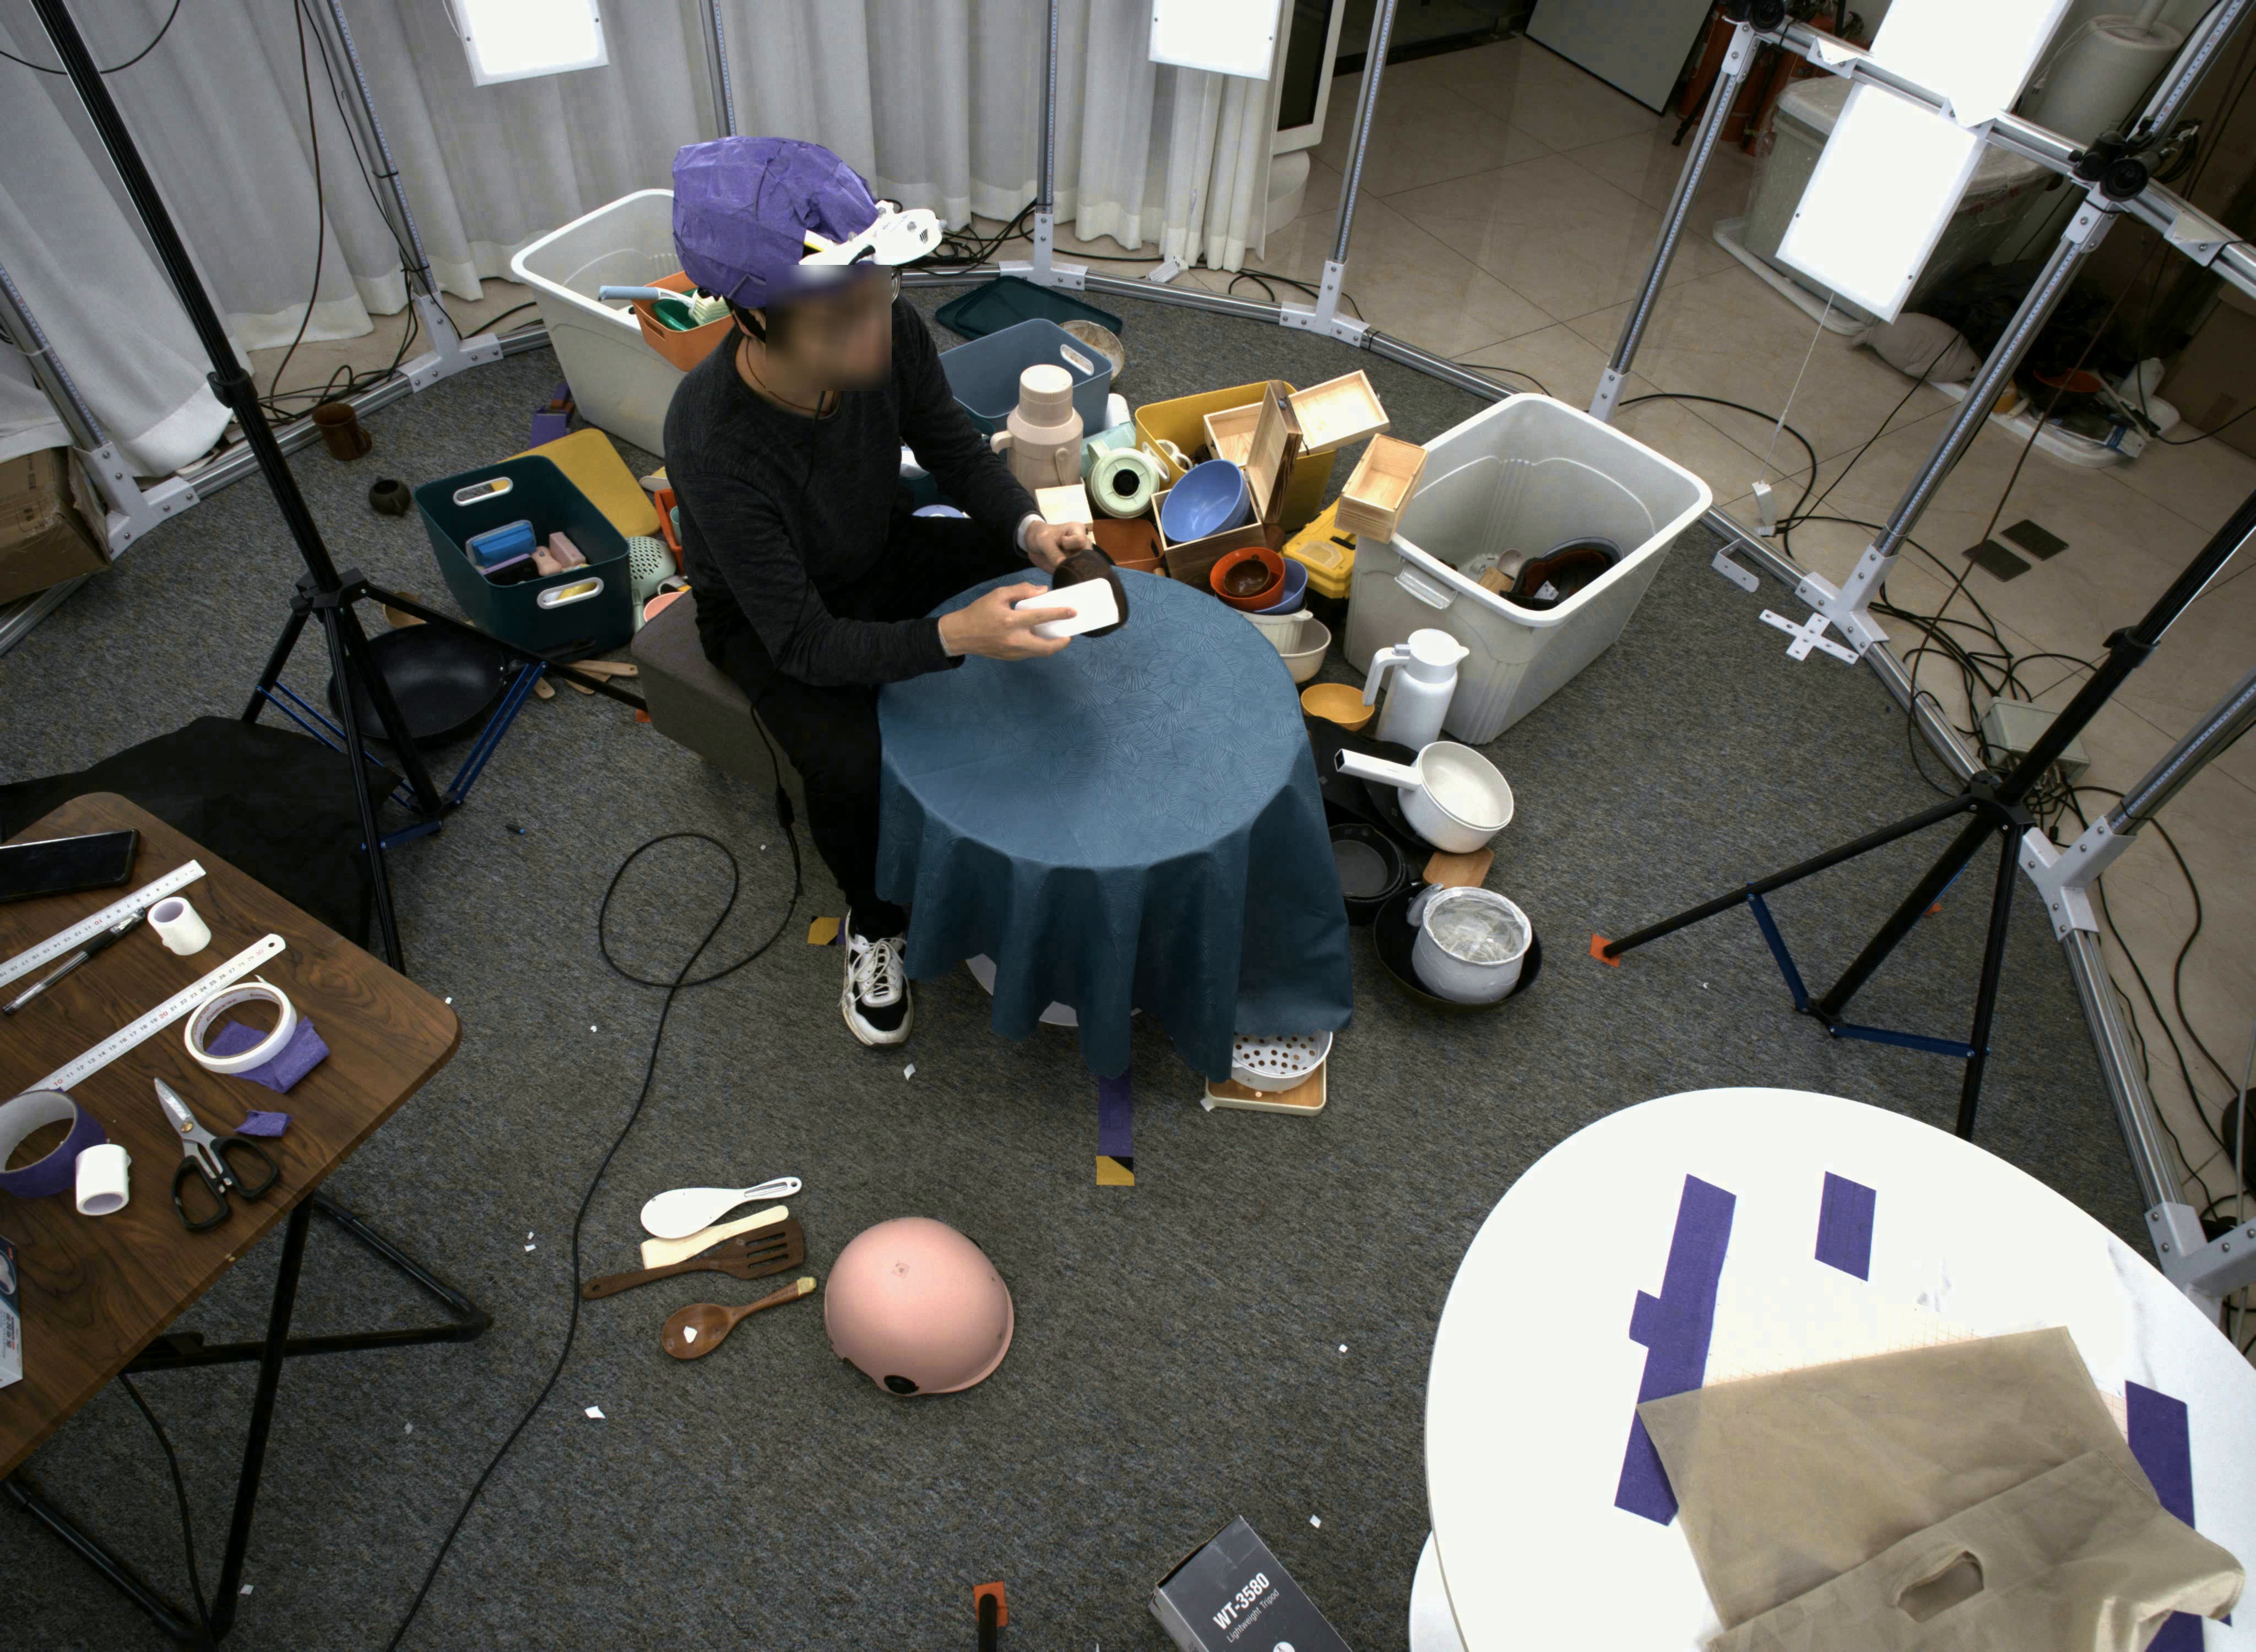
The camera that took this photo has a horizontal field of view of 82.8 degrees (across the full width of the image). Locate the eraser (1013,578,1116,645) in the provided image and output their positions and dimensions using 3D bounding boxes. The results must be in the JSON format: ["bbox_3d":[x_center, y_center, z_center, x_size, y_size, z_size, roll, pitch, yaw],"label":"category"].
[{"bbox_3d":[-0.082,-0.280,1.666,0.131,0.062,0.035,-13,20,13],"label":"eraser"}]

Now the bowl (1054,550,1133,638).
[{"bbox_3d":[-0.056,-0.303,1.728,0.070,0.115,0.120,-40,62,-17],"label":"bowl"}]
